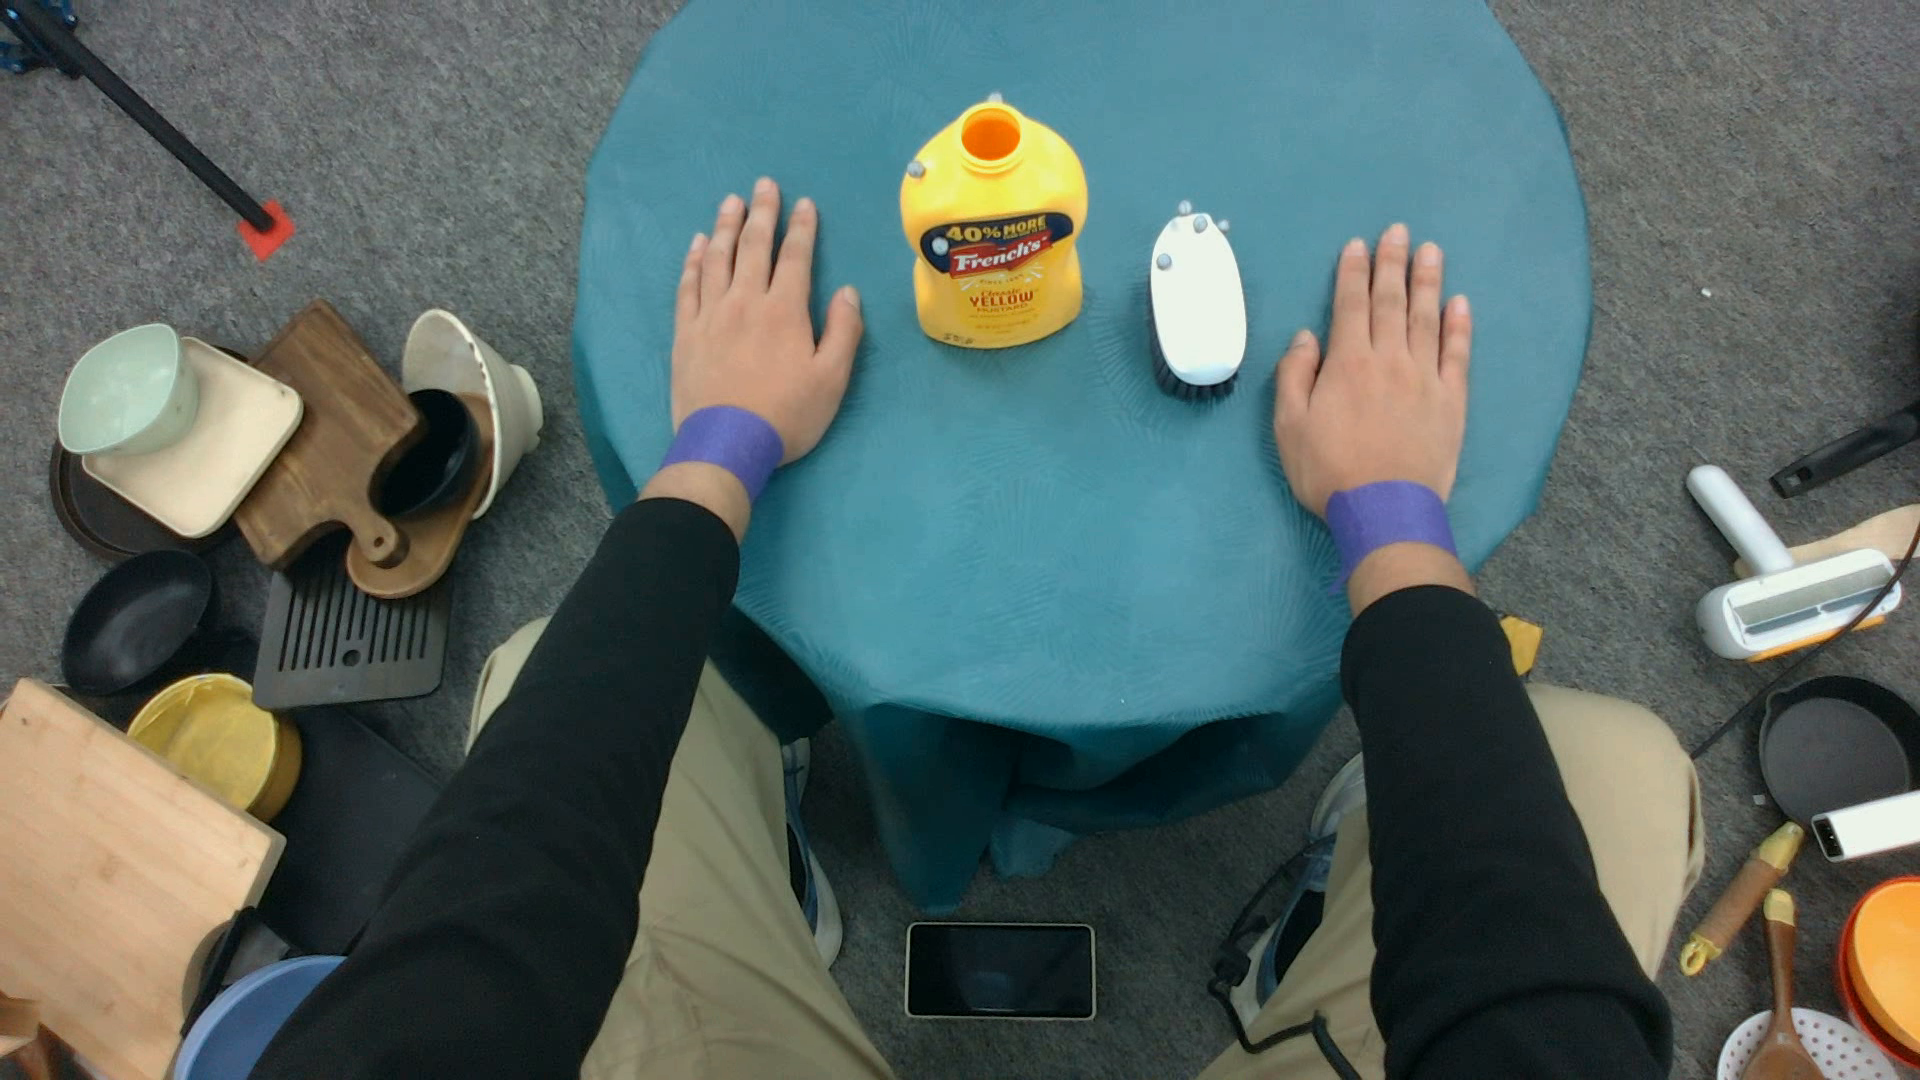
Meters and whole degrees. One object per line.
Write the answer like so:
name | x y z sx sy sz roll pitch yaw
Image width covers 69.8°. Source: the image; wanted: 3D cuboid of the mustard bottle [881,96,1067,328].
mustard bottle | 0.009 -0.172 0.730 0.098 0.171 0.059 -9 75 -2

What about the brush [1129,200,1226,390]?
brush | 0.122 -0.142 0.765 0.050 0.072 0.099 -4 70 2
